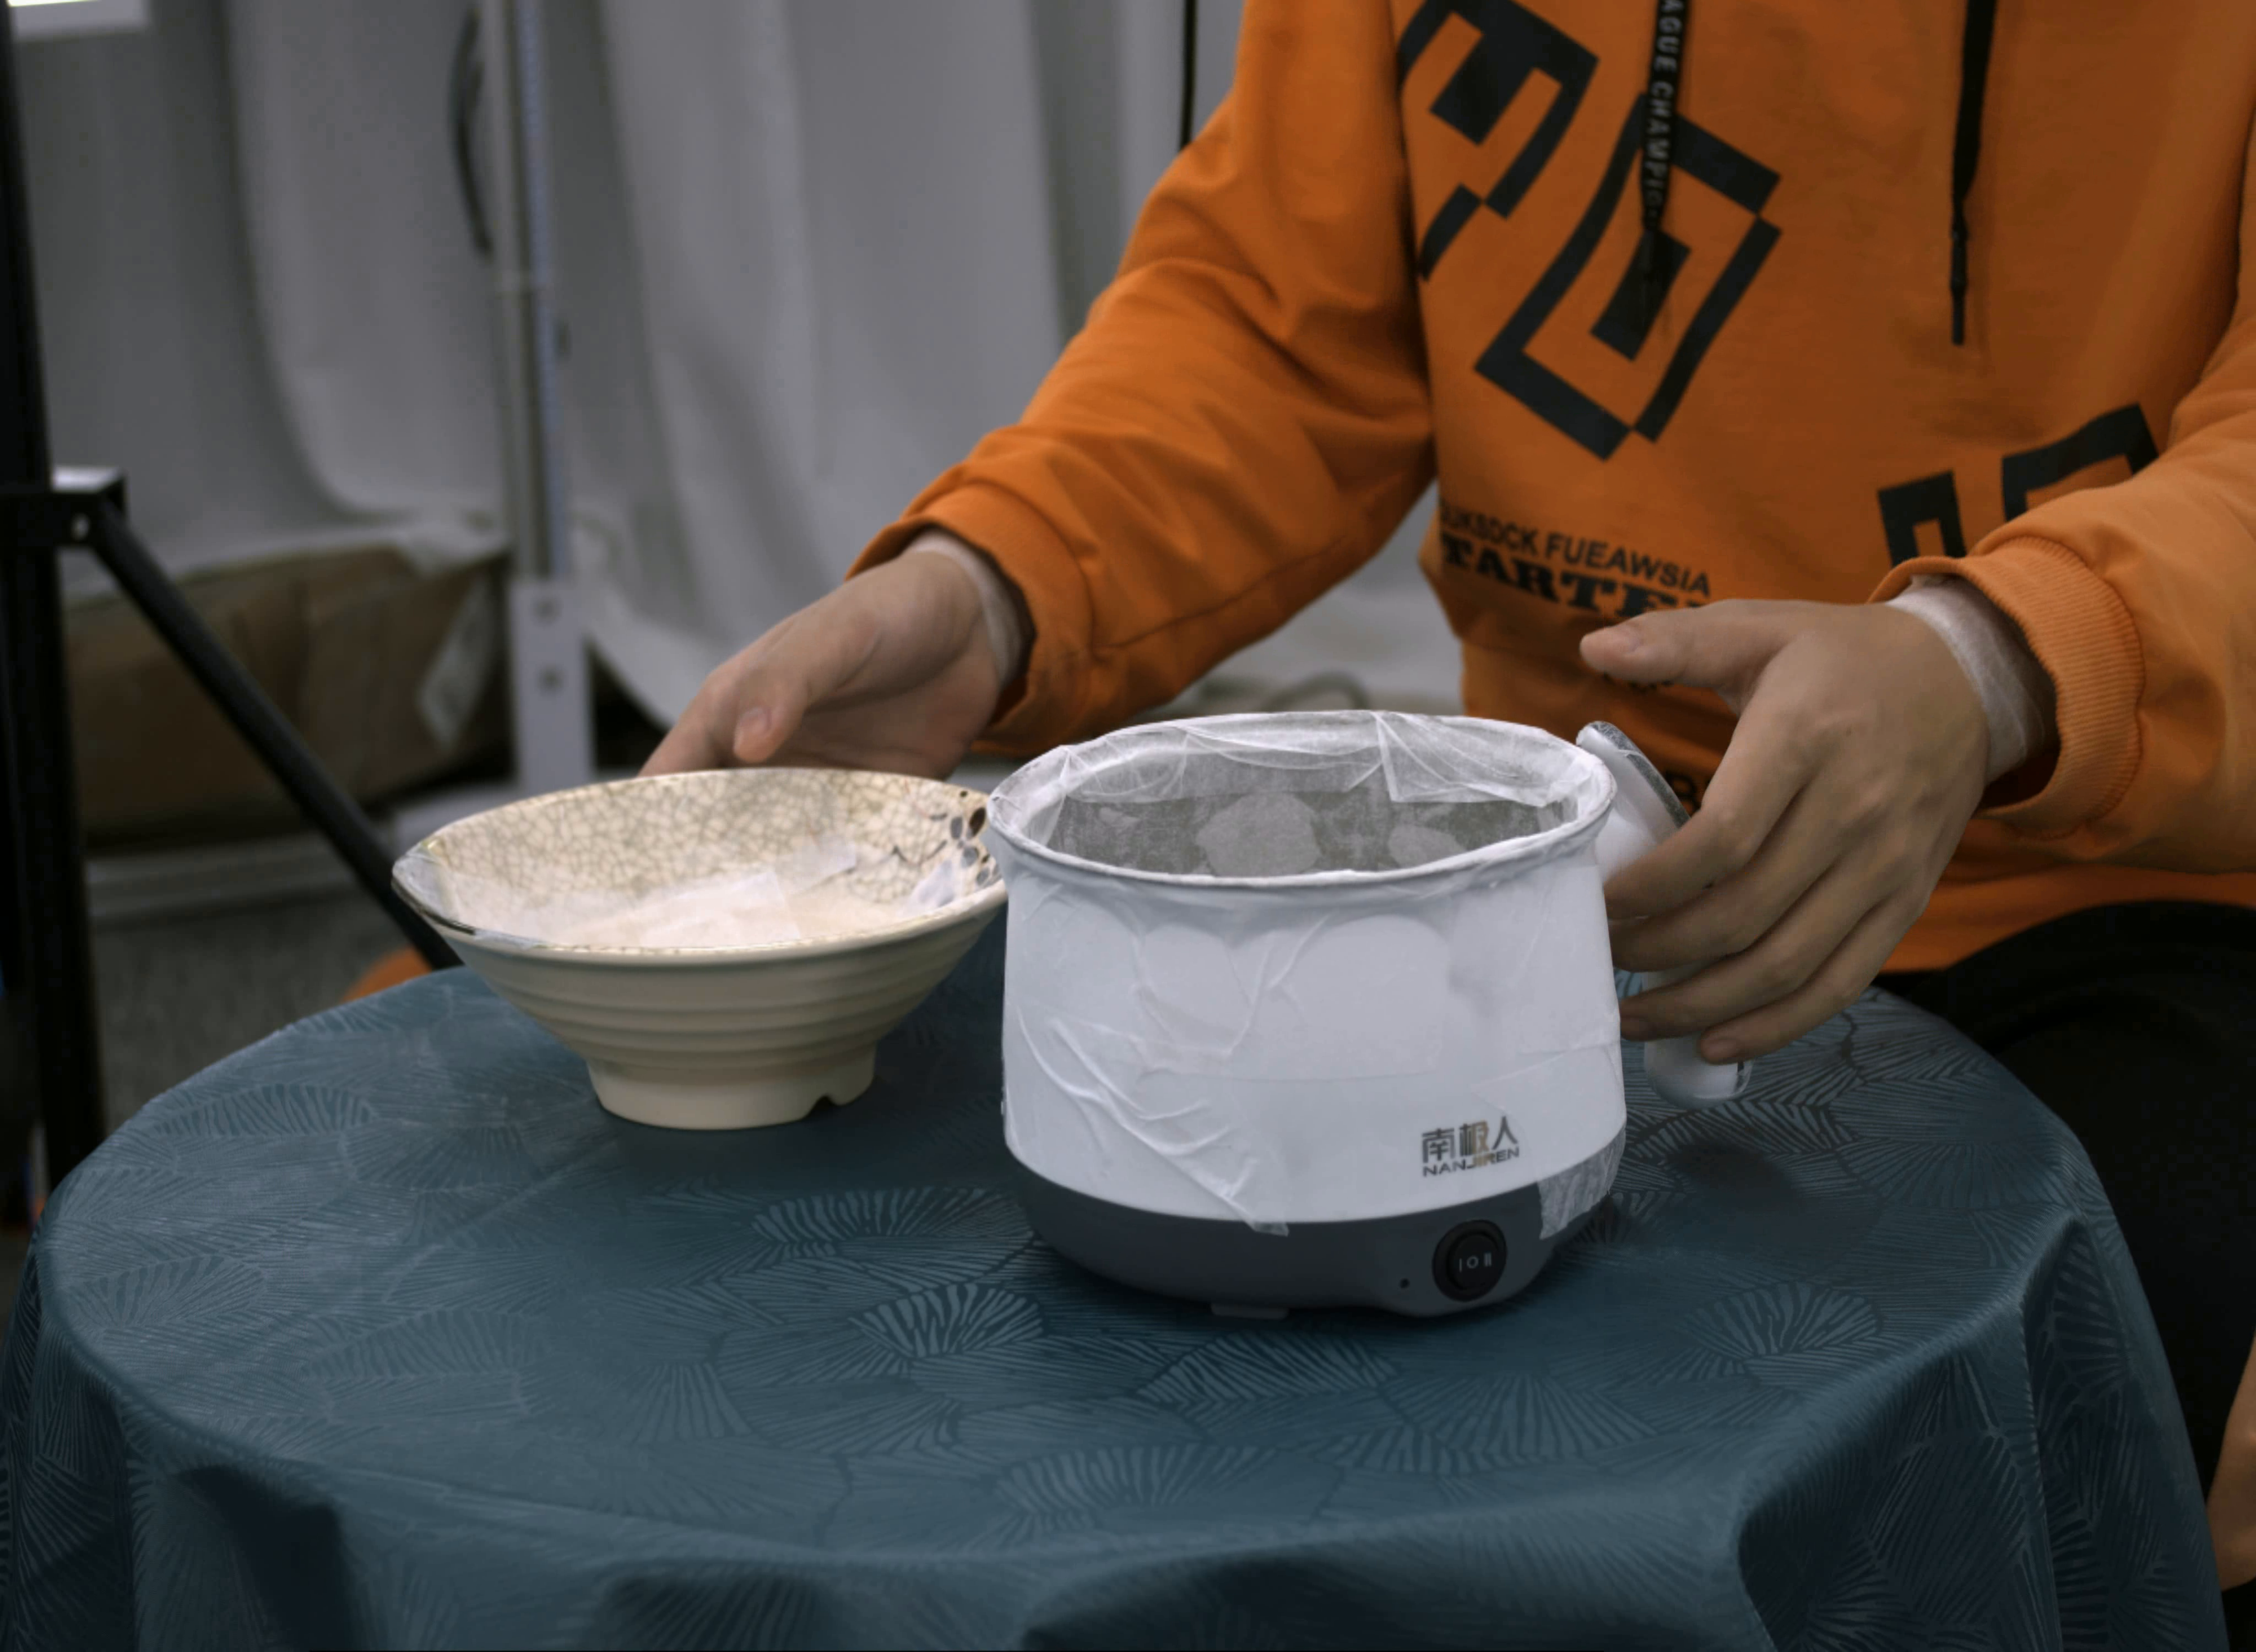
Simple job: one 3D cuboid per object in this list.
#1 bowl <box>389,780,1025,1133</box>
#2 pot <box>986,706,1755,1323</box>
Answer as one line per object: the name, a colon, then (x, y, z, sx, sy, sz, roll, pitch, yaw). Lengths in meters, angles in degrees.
bowl: (-0.126, 0.046, 1.660, 0.203, 0.078, 0.205, -2, 14, -1)
pot: (0.075, 0.047, 1.510, 0.229, 0.136, 0.182, -11, 18, -26)
